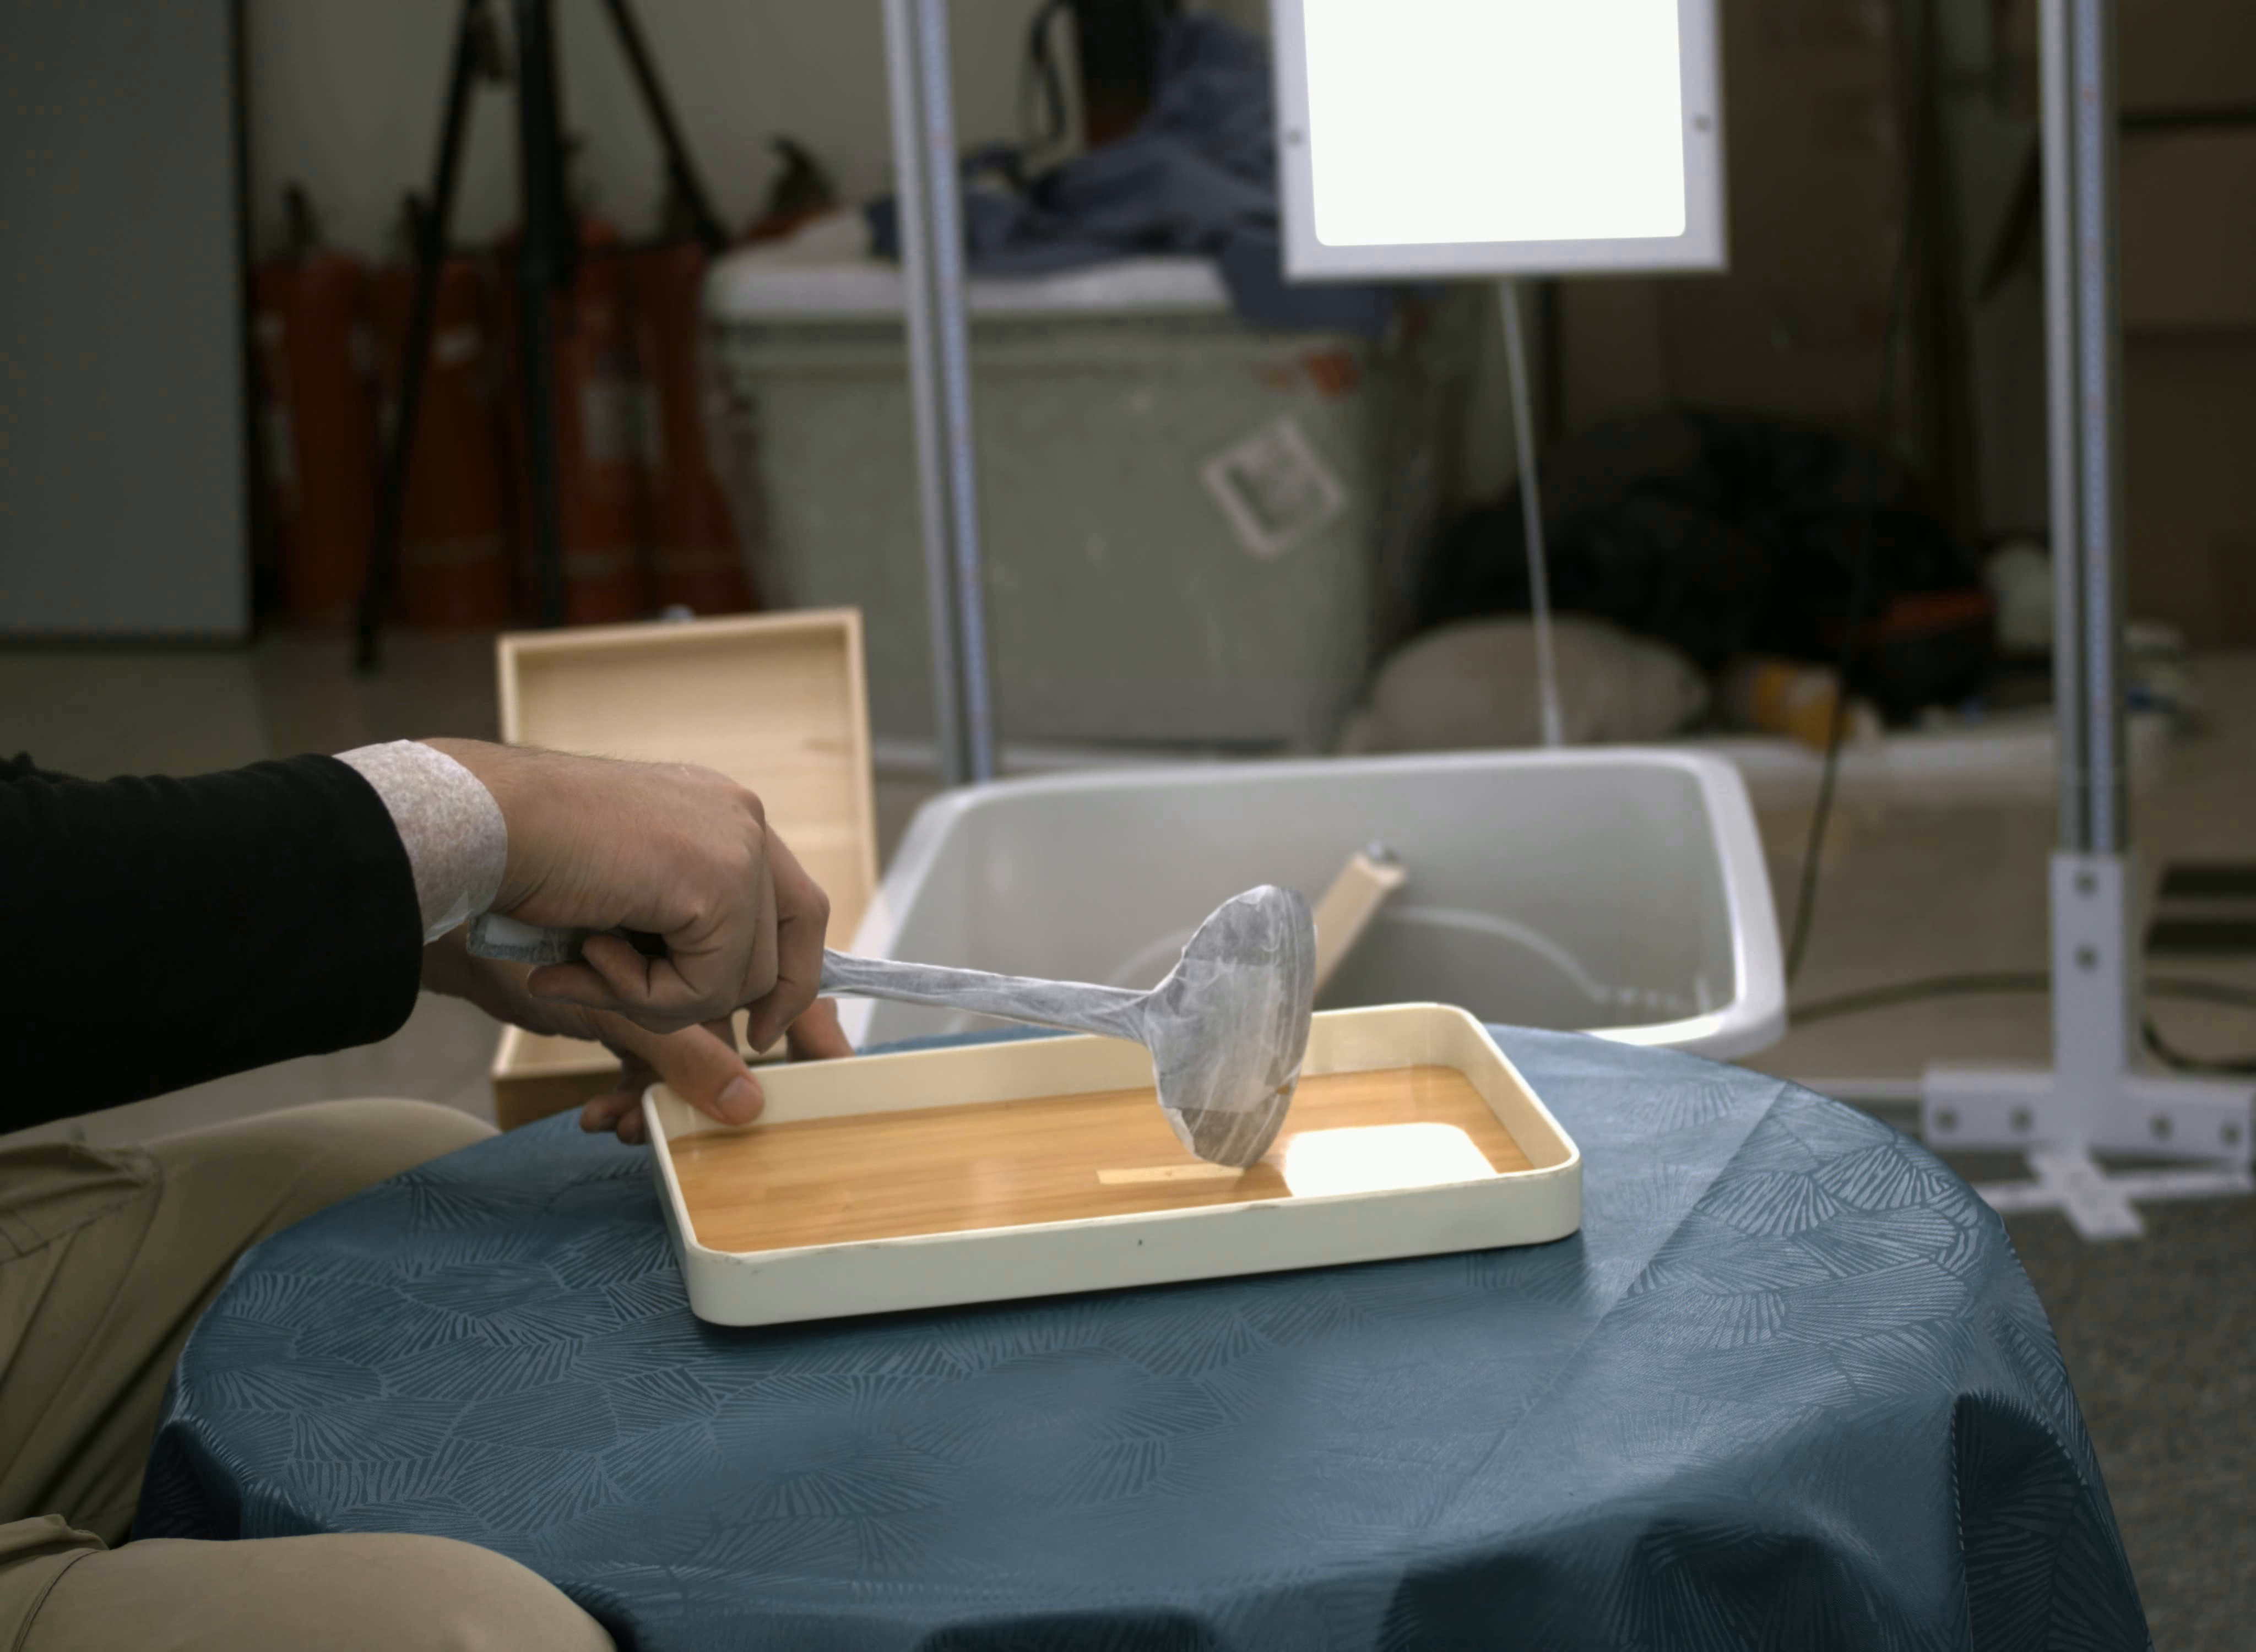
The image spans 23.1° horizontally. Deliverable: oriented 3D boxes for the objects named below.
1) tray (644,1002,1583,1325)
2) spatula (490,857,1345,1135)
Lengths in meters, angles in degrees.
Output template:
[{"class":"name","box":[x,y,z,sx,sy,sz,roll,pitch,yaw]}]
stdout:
[{"class":"tray","box":[-0.009,0.113,1.874,0.298,0.027,0.192,-6,16,-6]},{"class":"spatula","box":[-0.059,0.043,1.764,0.356,0.099,0.045,8,9,-37]}]
